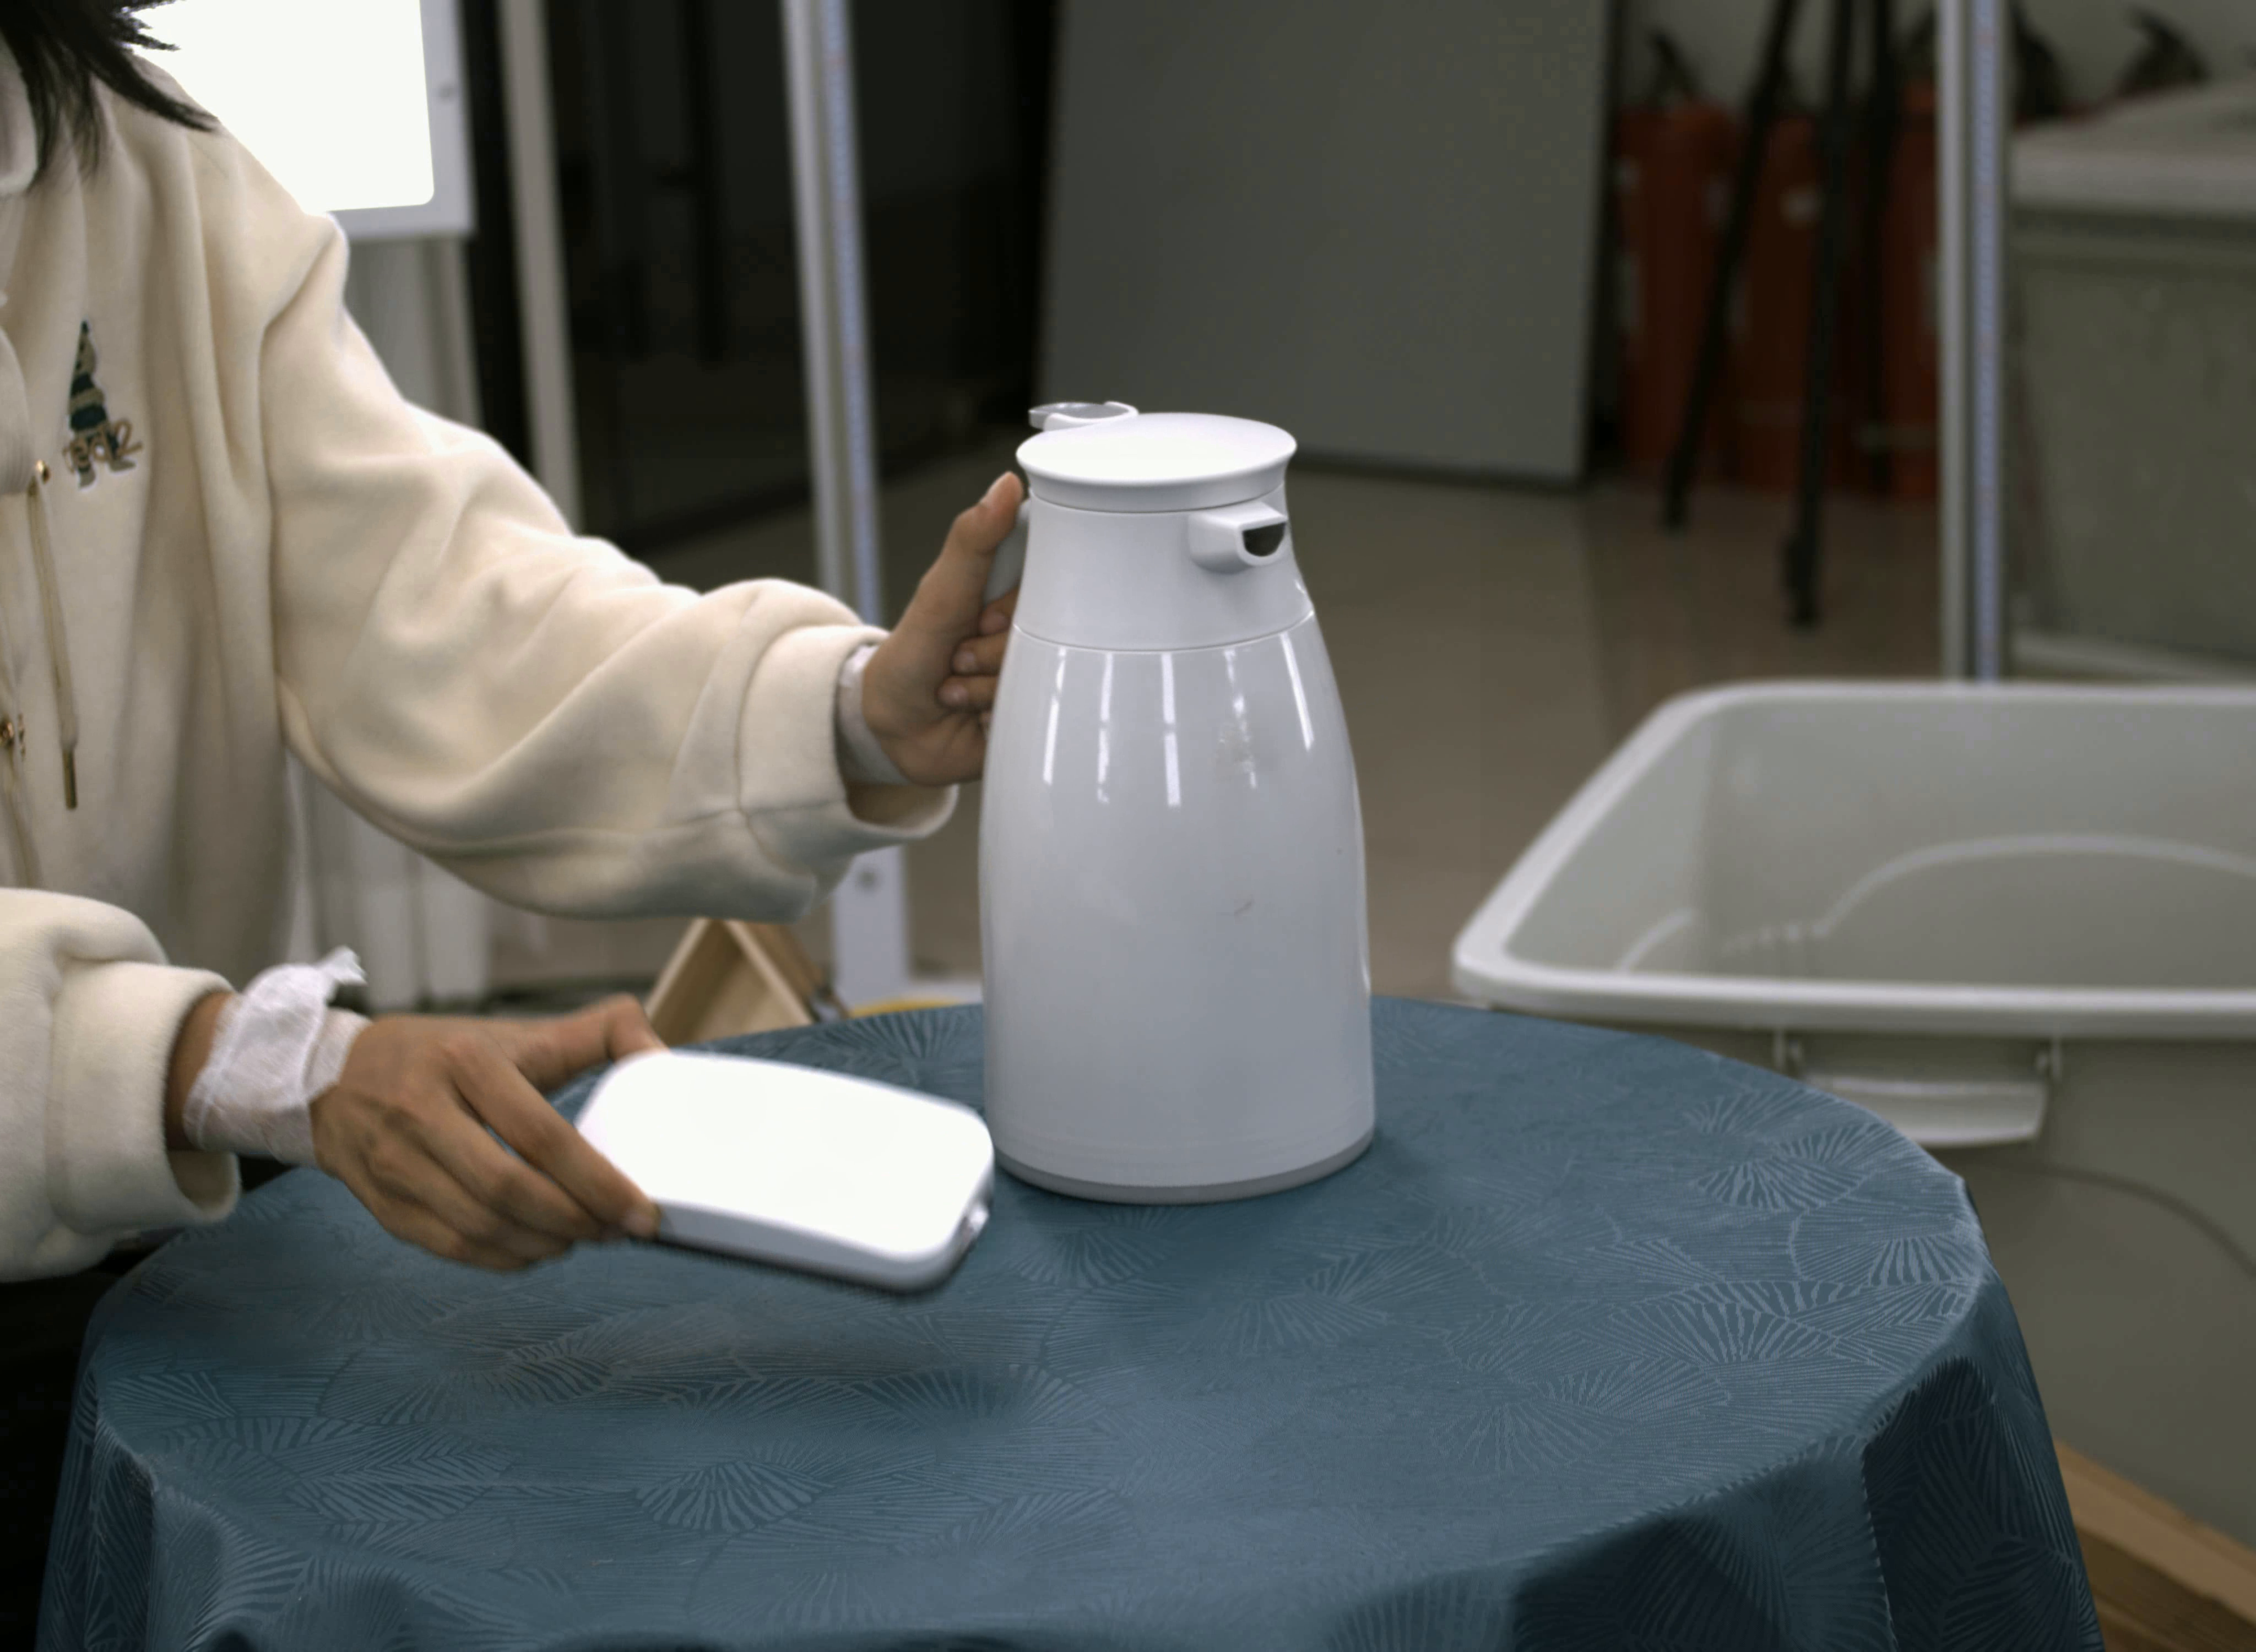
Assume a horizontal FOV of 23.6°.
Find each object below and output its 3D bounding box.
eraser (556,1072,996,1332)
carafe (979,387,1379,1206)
[{"bbox_3d":[-0.104,0.111,1.620,0.131,0.034,0.063,11,43,22],"label":"eraser"},{"bbox_3d":[0.003,-0.018,1.794,0.129,0.251,0.169,-13,18,-31],"label":"carafe"}]
